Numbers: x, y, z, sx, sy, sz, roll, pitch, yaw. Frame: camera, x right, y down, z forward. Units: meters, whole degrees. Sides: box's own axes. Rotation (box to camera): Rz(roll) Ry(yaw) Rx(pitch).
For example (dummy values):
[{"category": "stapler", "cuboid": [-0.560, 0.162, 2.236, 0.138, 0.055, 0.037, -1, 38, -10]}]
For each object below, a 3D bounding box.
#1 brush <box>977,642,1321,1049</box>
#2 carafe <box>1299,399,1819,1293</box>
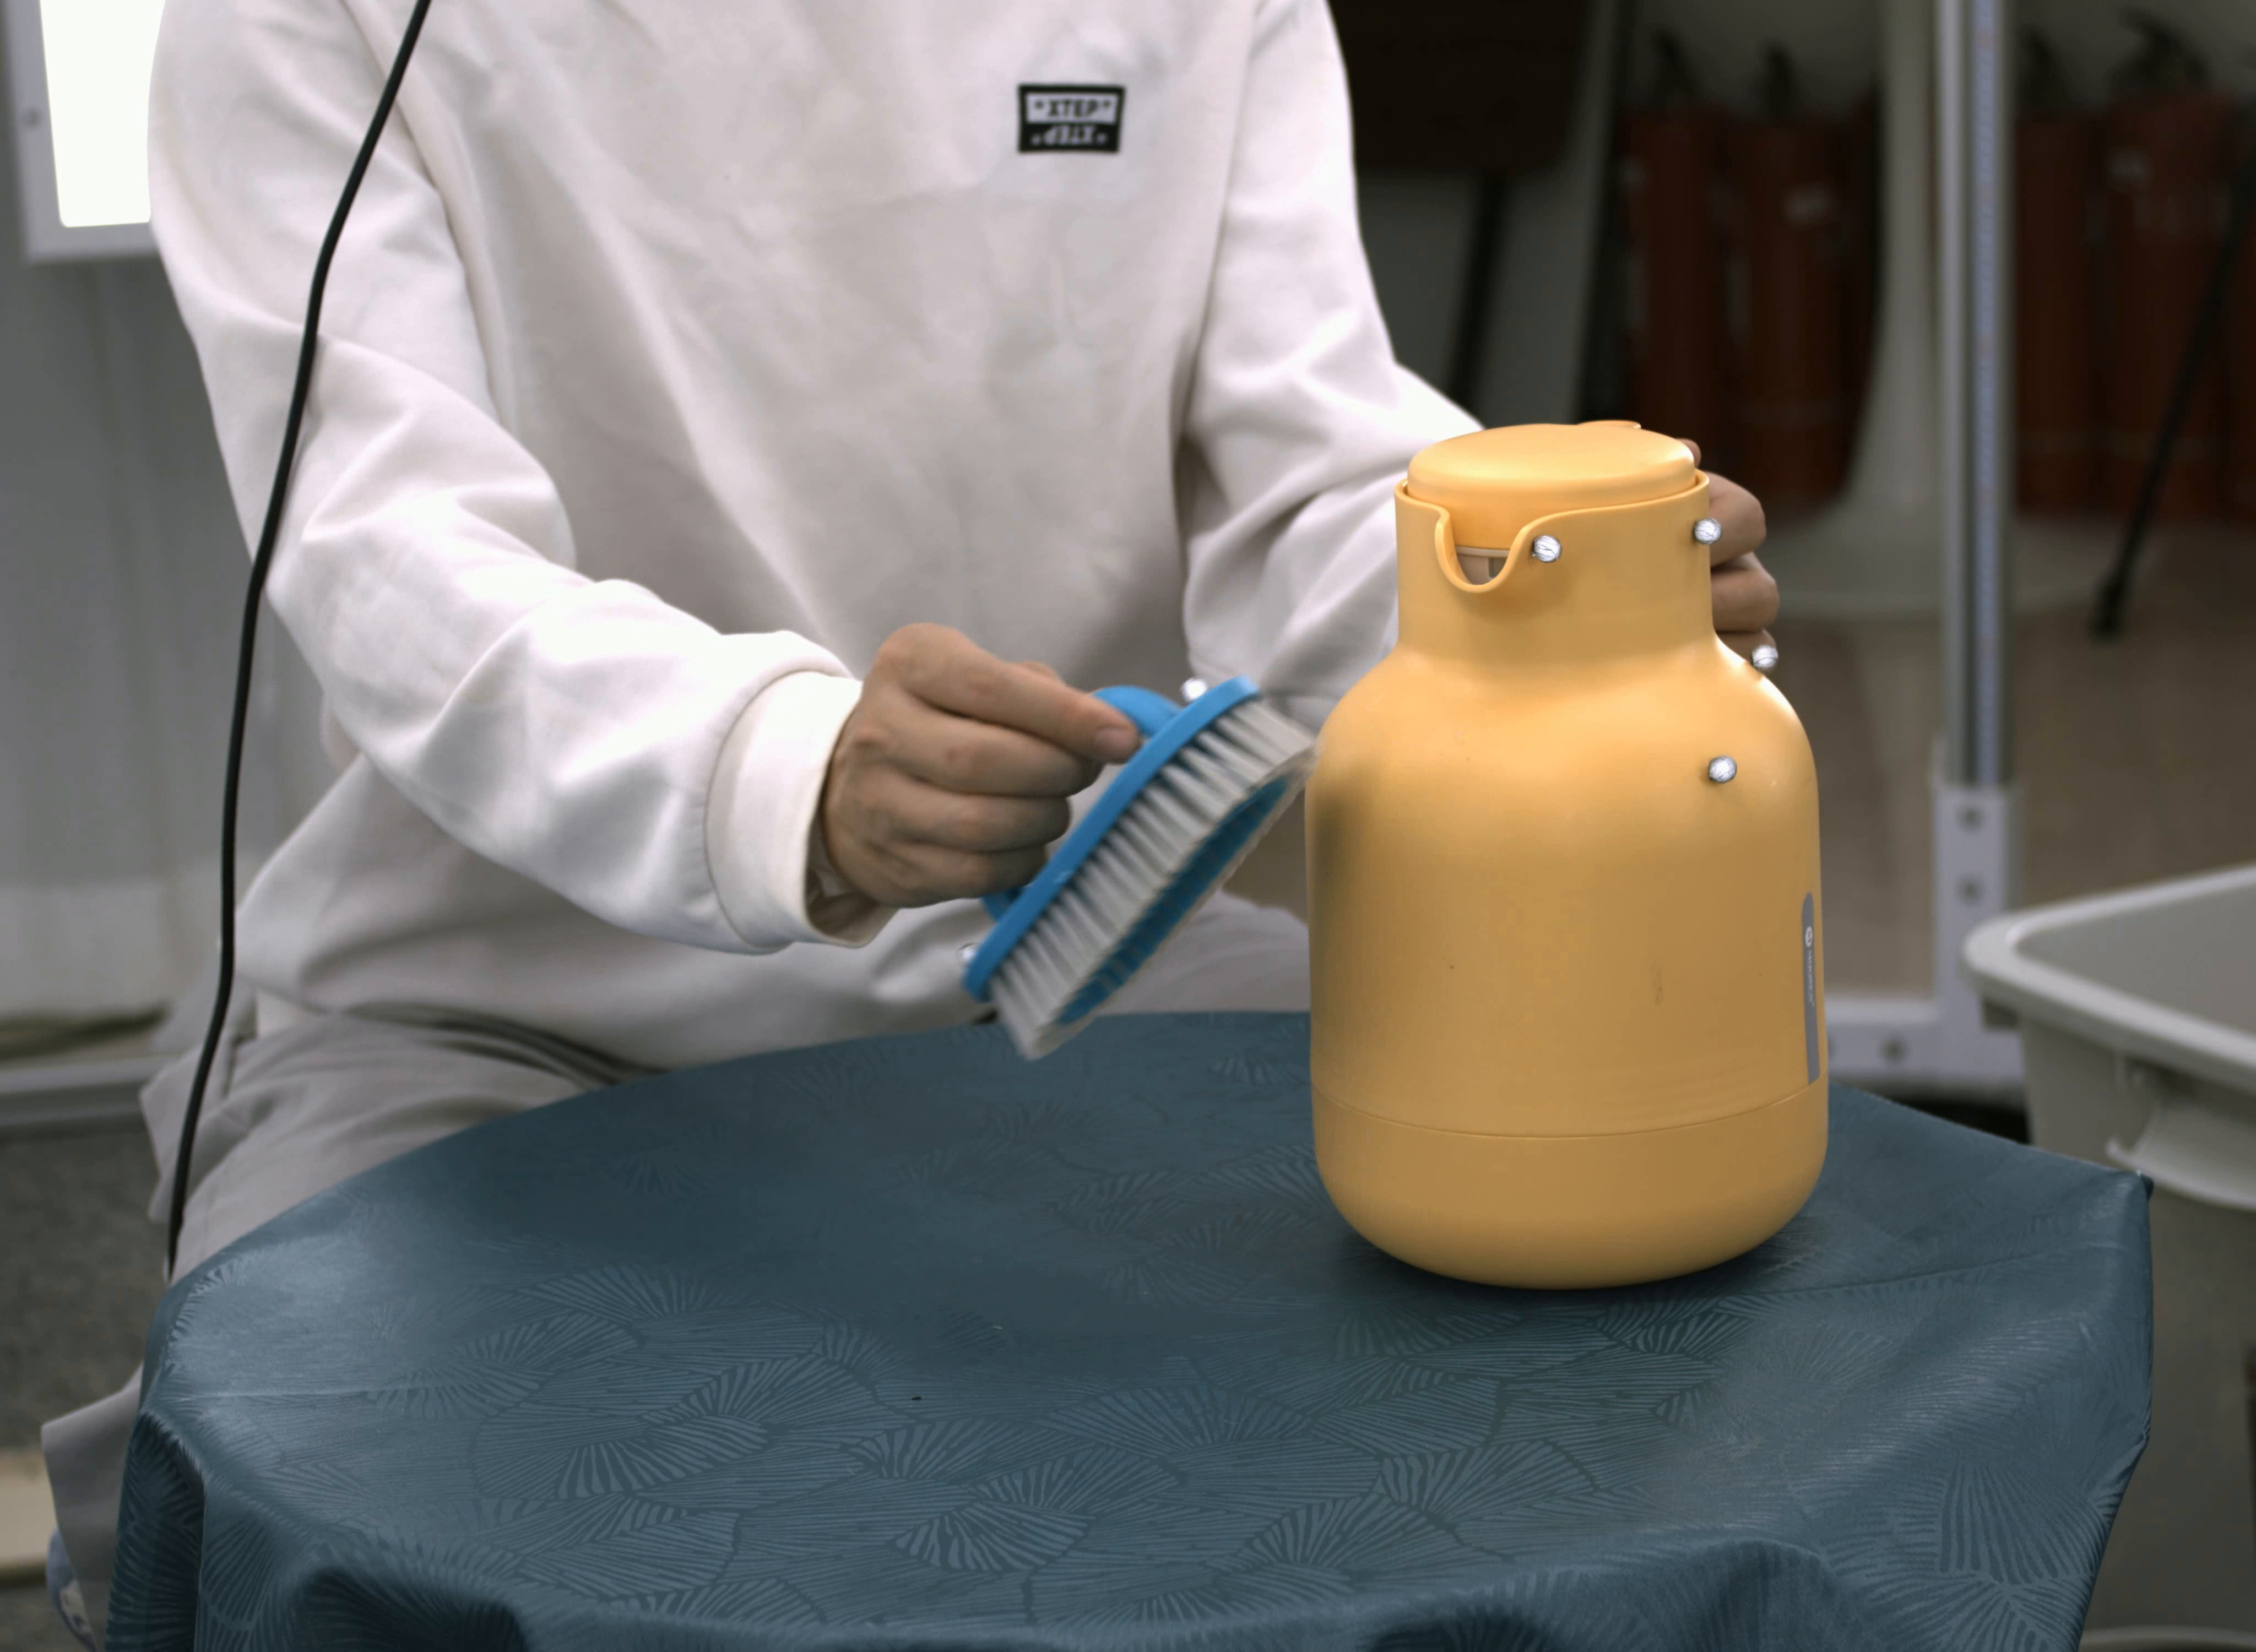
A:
[{"category": "brush", "cuboid": [-0.005, -0.001, 1.639, 0.064, 0.143, 0.083, 39, 30, 5]}, {"category": "carafe", "cuboid": [0.142, -0.001, 1.687, 0.163, 0.263, 0.200, 5, 17, 25]}]
